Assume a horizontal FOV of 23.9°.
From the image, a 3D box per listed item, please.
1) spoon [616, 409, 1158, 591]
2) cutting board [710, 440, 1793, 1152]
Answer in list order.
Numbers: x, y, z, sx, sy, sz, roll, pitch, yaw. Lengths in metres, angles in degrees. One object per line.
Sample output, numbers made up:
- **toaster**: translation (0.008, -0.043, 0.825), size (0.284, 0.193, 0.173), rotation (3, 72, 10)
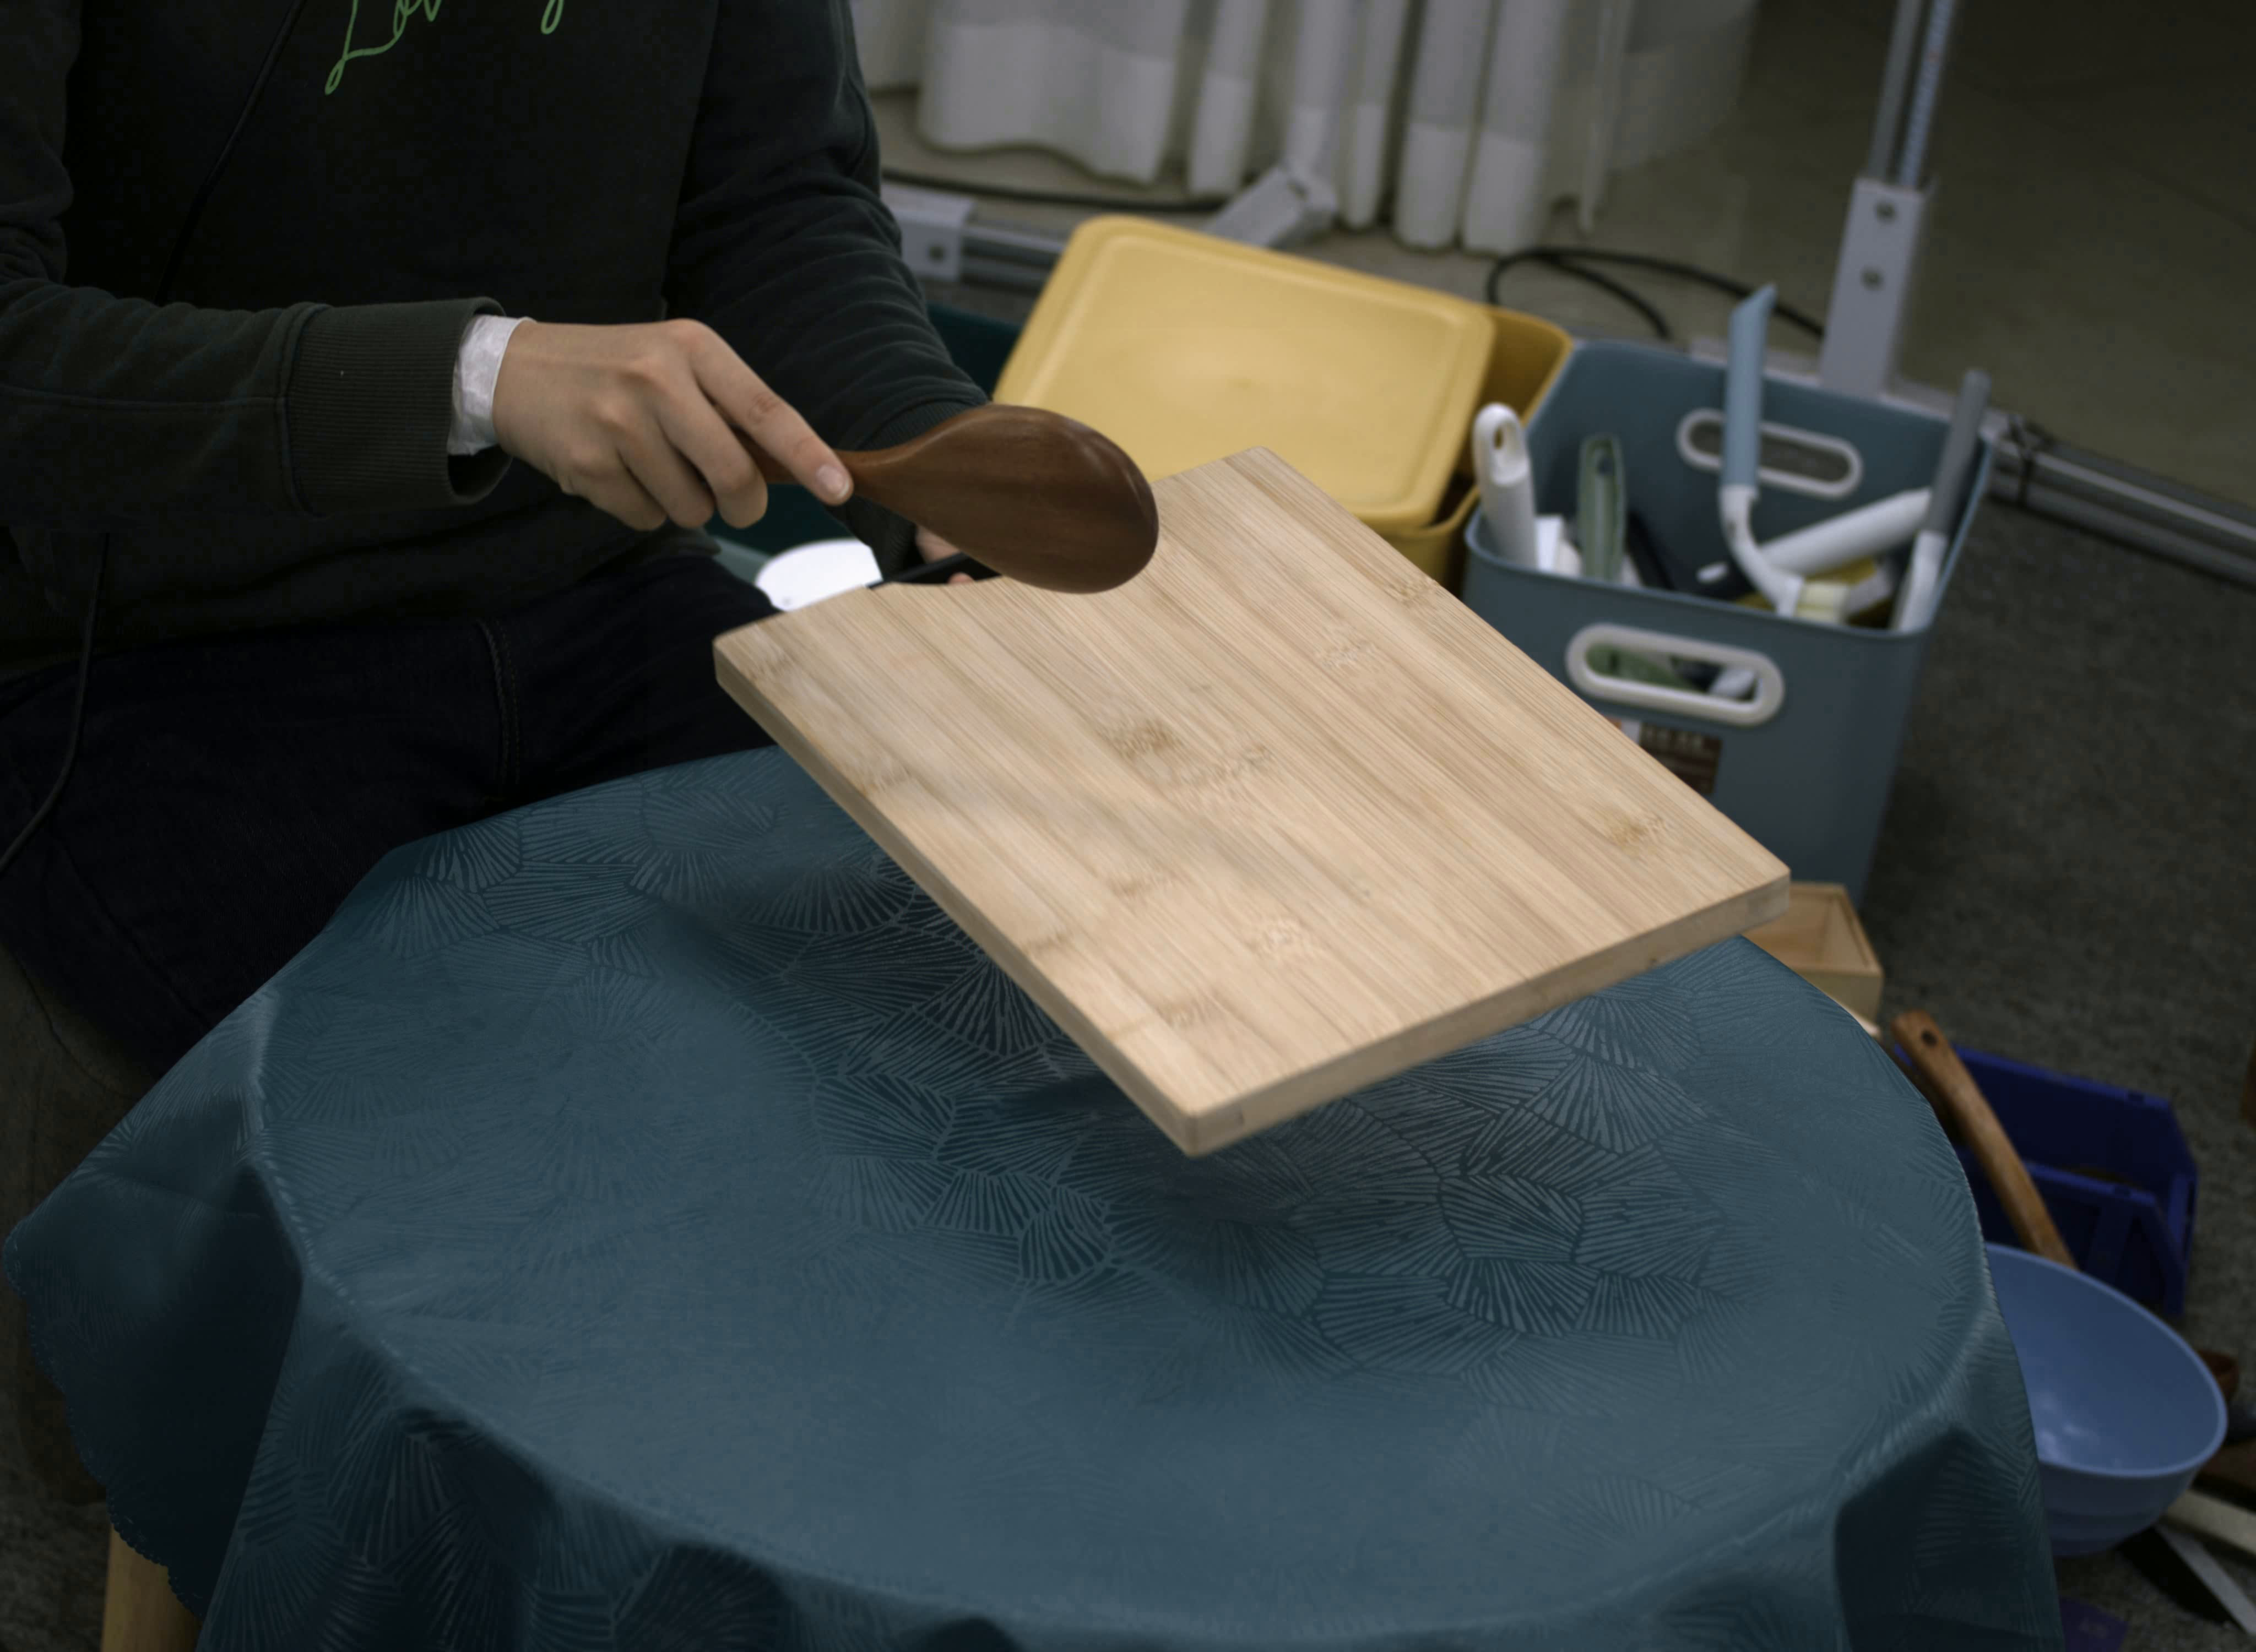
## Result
- **spoon**: translation (-0.086, -0.117, 1.822), size (0.217, 0.075, 0.017), rotation (11, 47, 30)
- **cutting board**: translation (0.035, -0.019, 1.876), size (0.249, 0.023, 0.352), rotation (-21, 38, -23)
